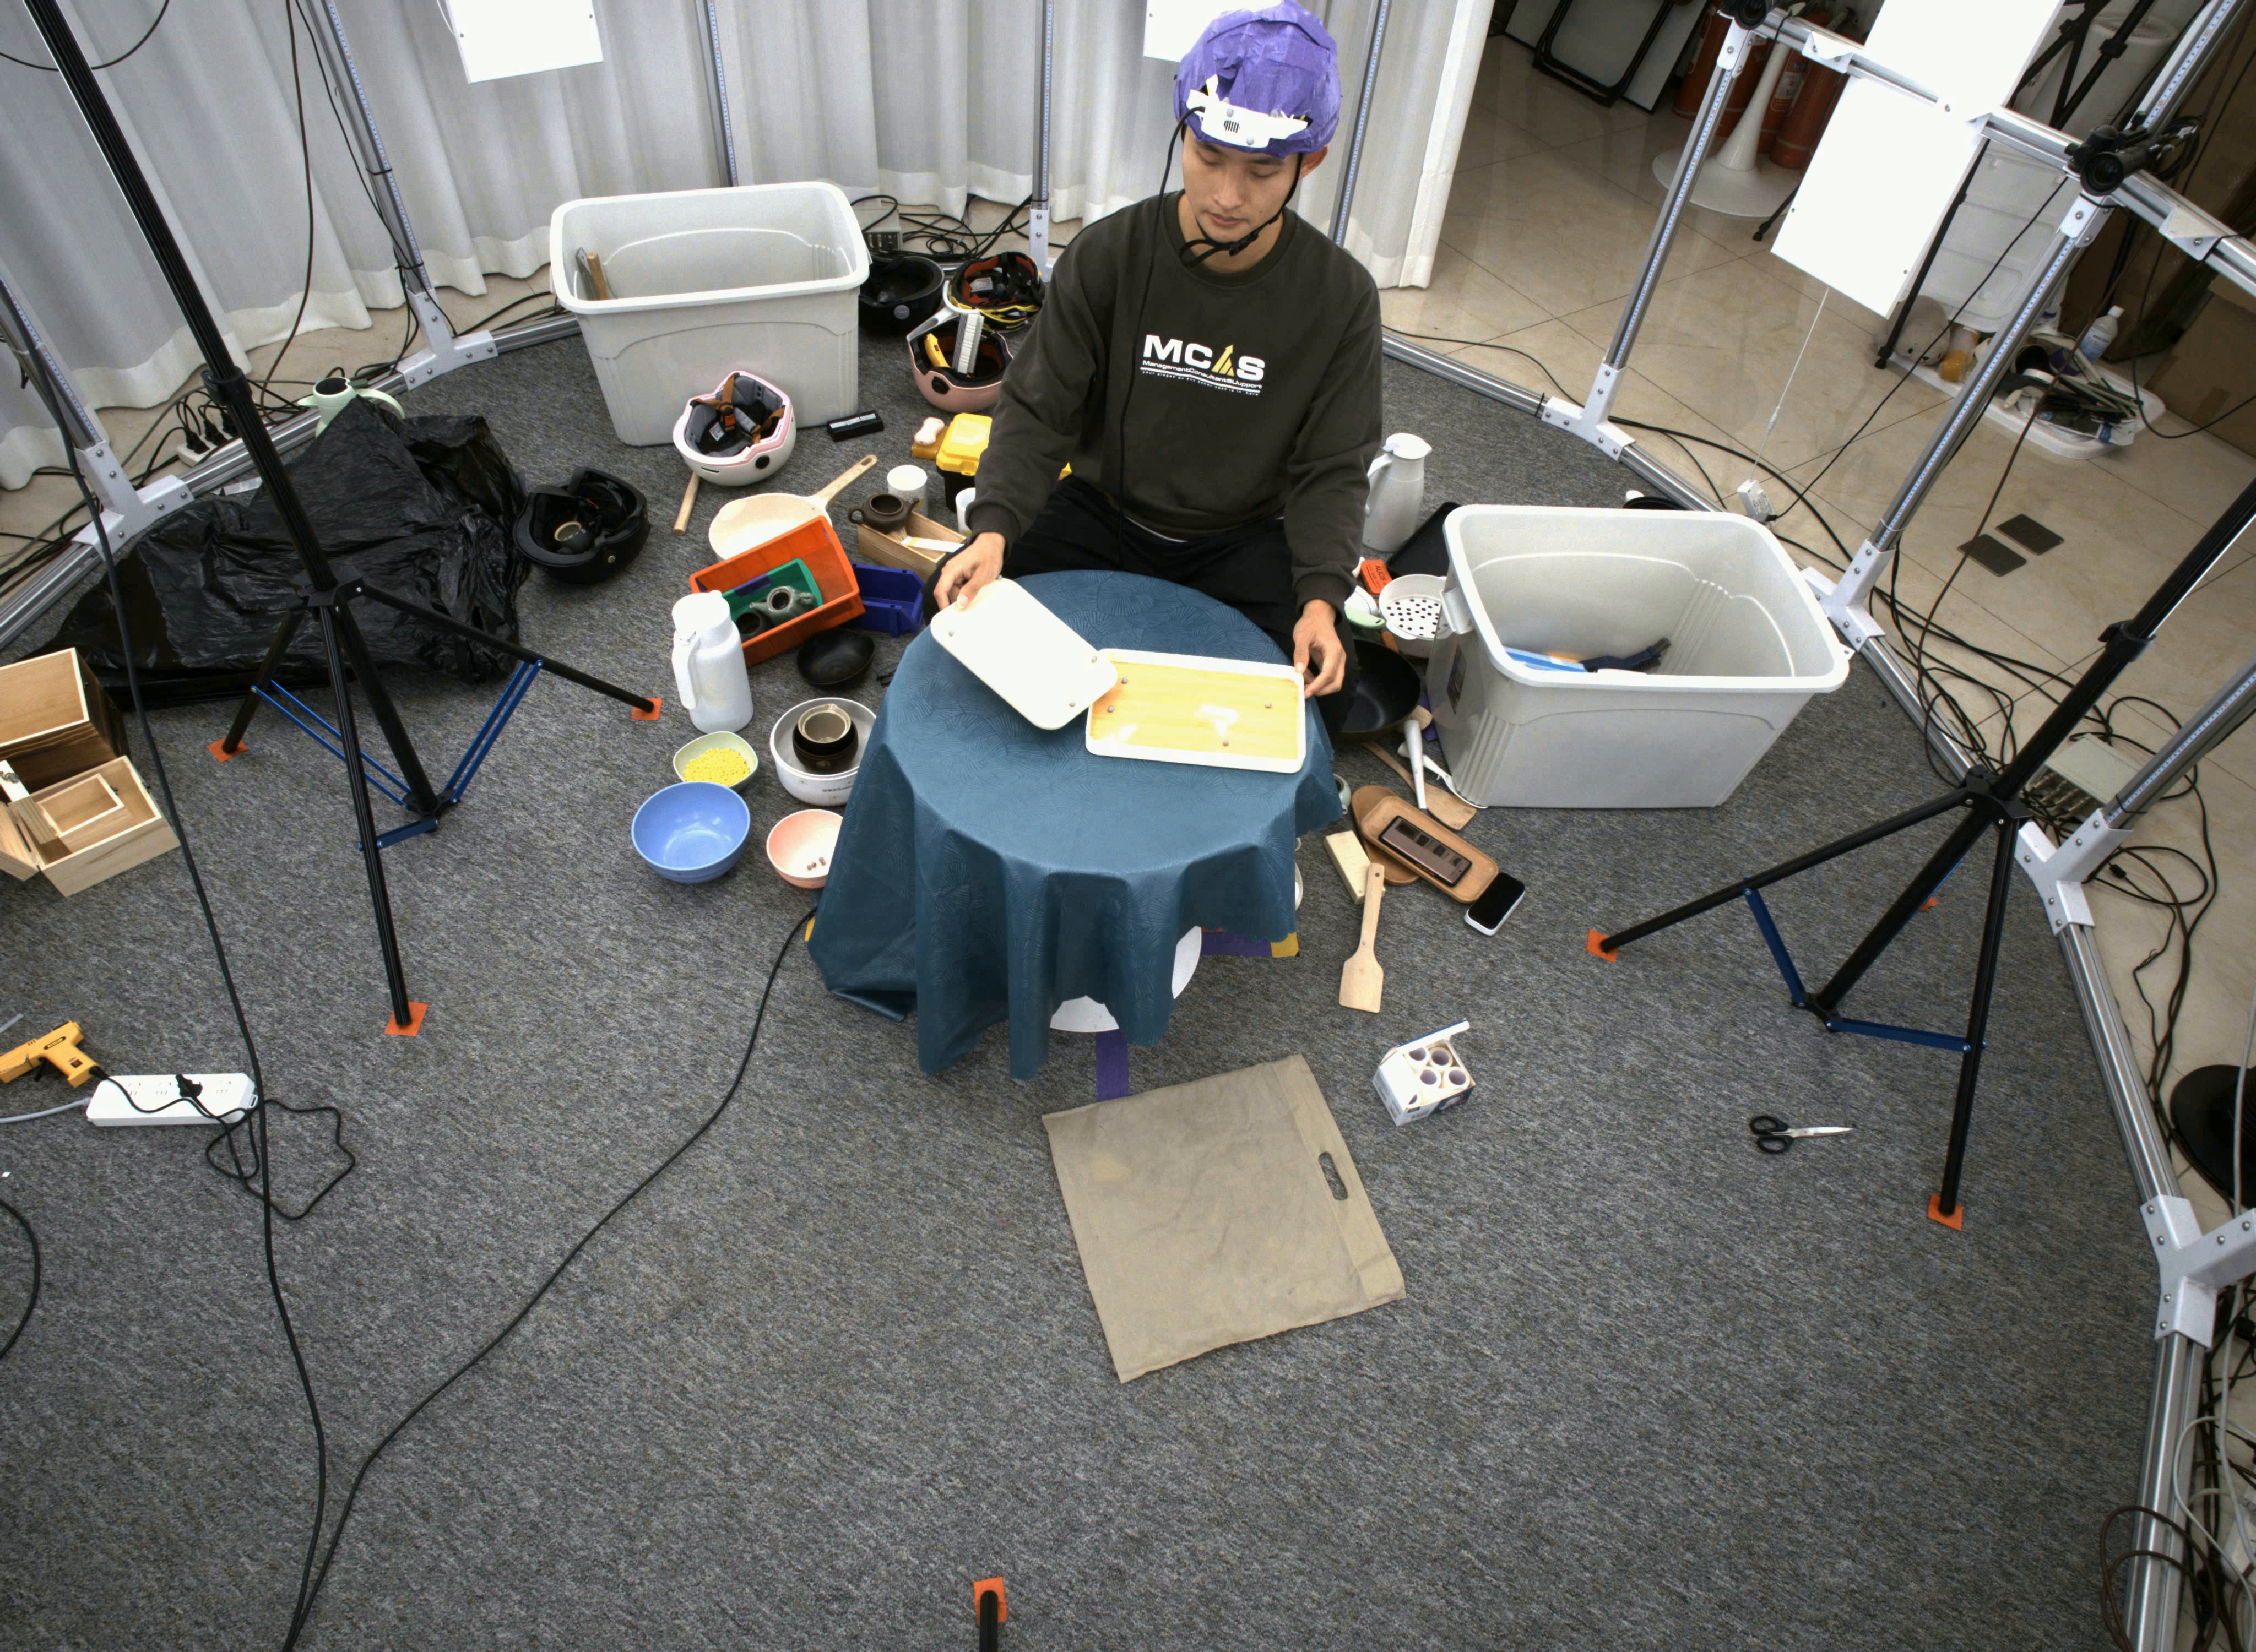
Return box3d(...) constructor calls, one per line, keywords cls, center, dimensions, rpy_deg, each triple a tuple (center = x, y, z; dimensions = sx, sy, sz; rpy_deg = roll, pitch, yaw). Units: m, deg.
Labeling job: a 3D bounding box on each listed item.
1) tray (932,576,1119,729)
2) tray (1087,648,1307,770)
box3d(cls="tray", center=(-0.141, -0.241, 1.782), dimensions=(0.241, 0.017, 0.173), rpy_deg=(41, 52, 10))
box3d(cls="tray", center=(0.098, -0.166, 1.799), dimensions=(0.300, 0.027, 0.196), rpy_deg=(5, 48, 0))
